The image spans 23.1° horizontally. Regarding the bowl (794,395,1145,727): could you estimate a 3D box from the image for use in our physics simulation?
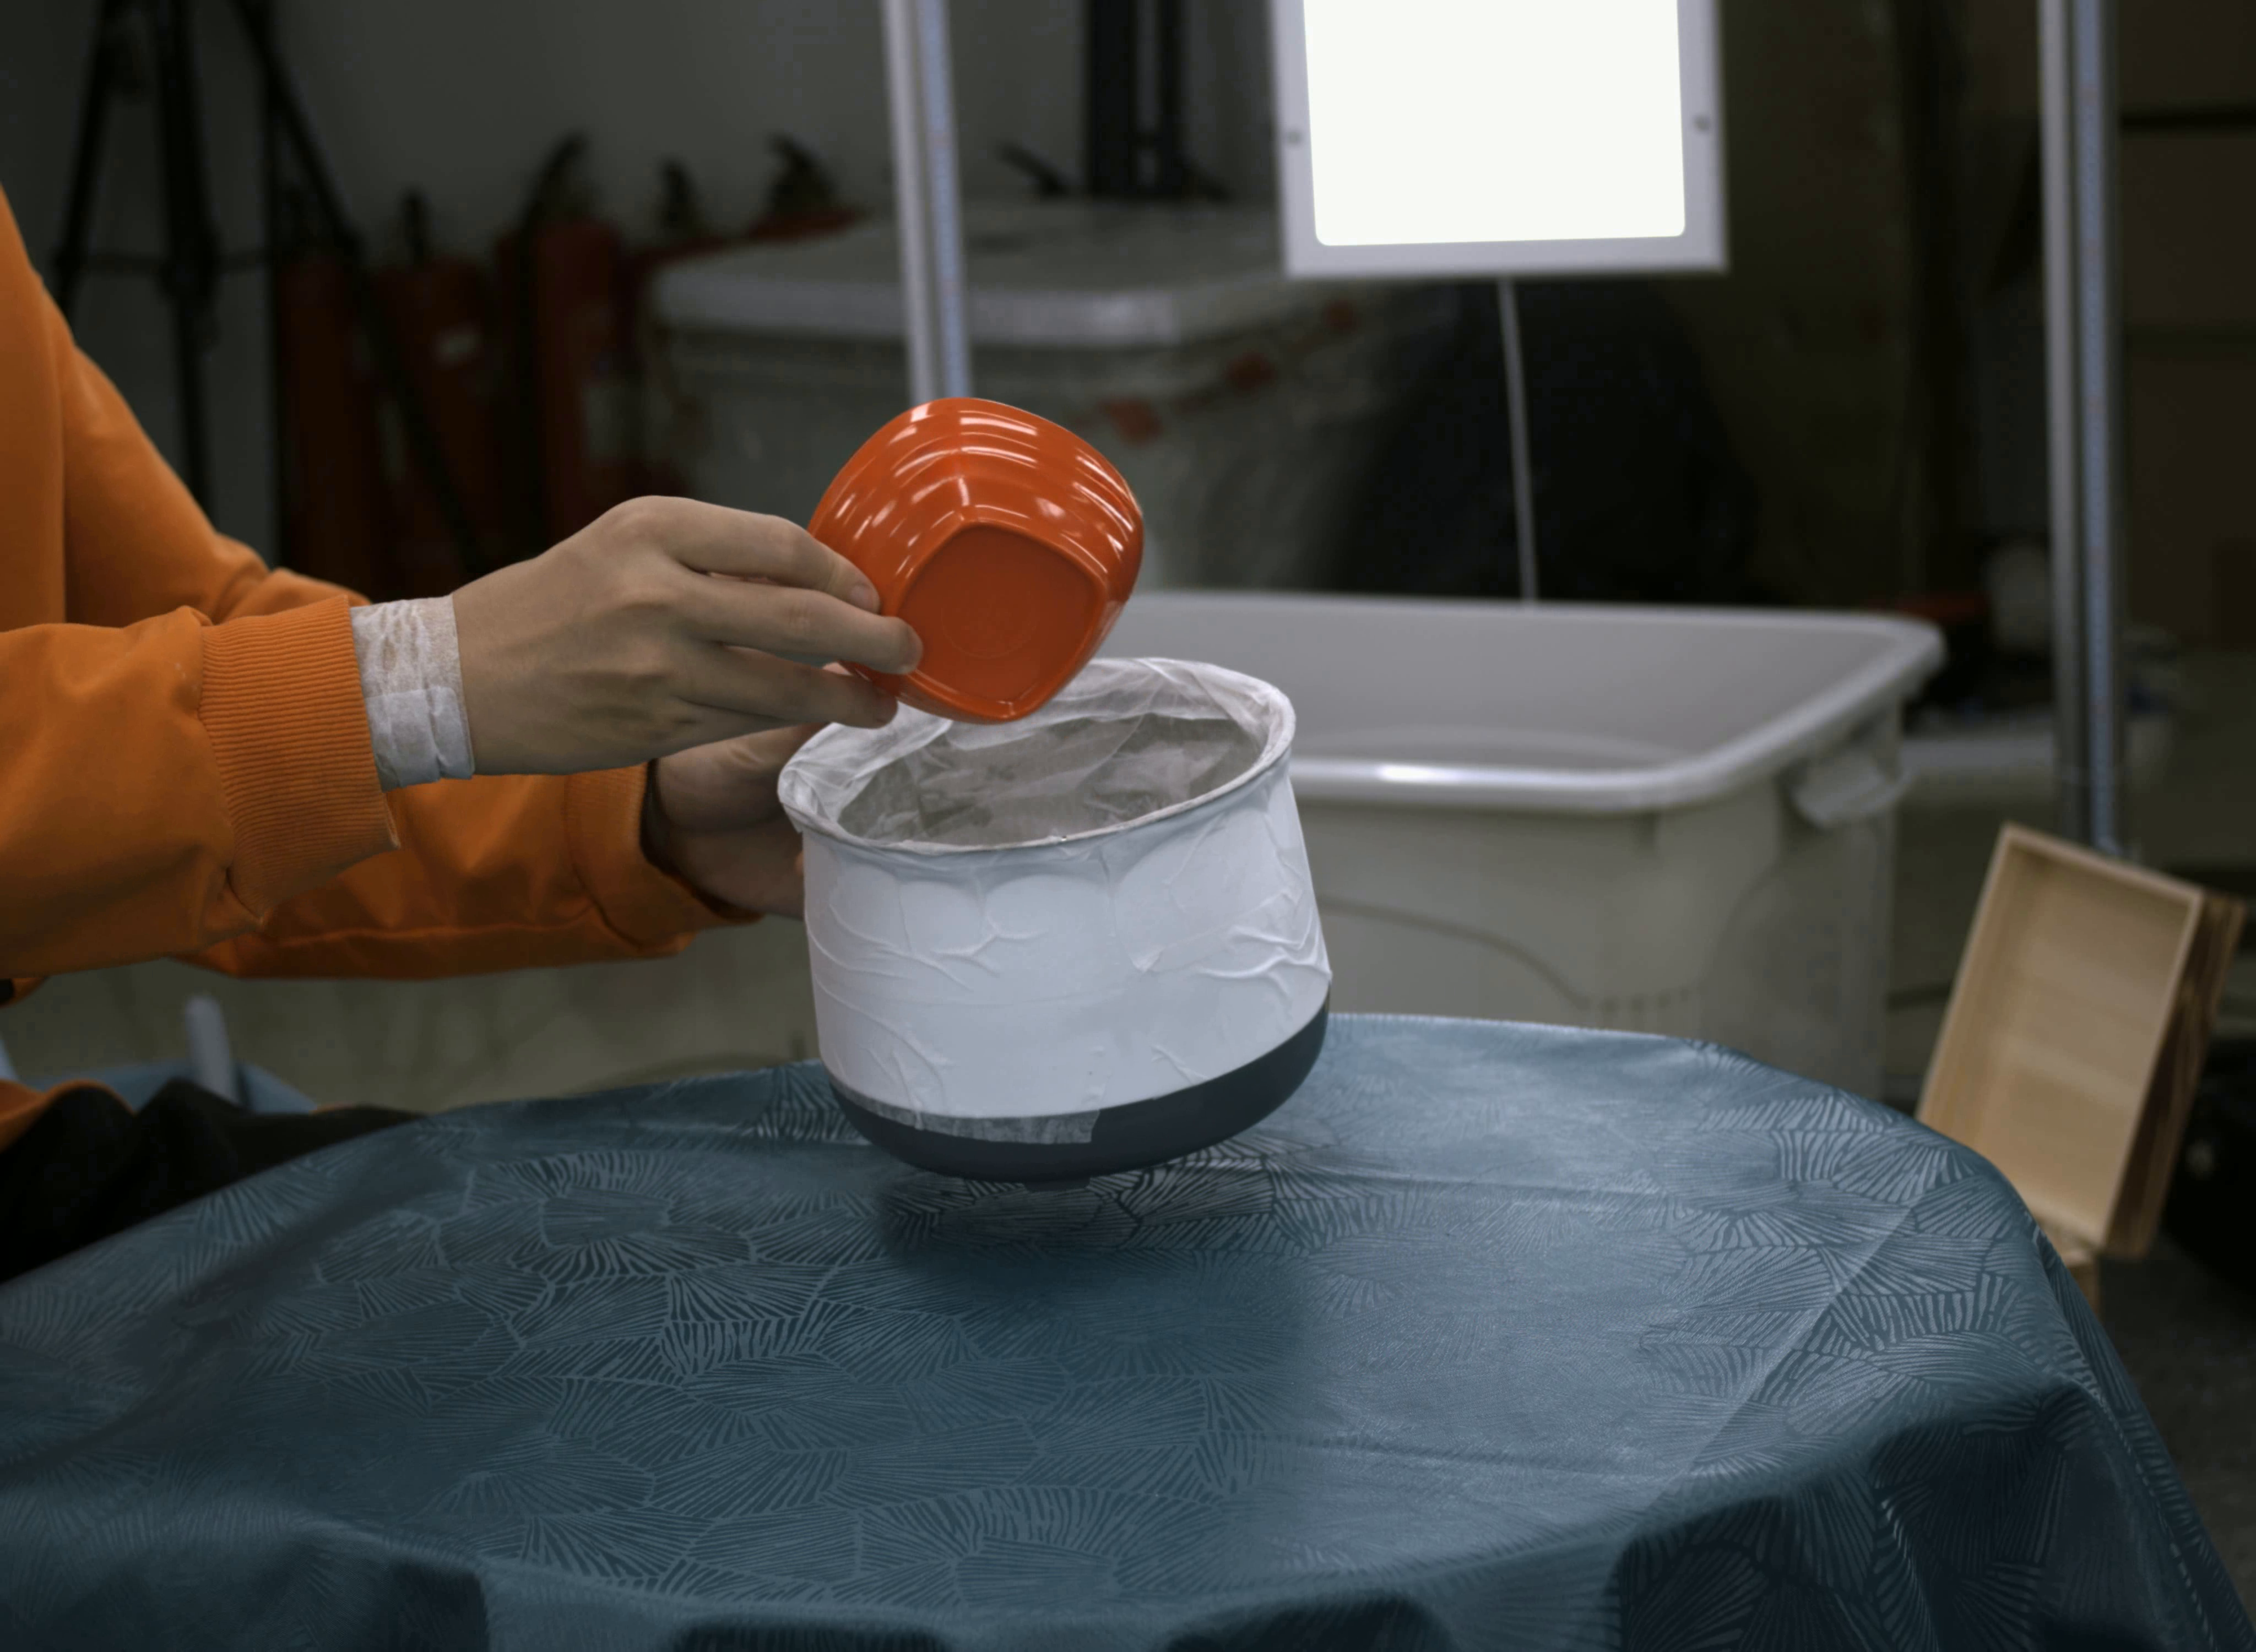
[{"bbox_3d":[-0.048,-0.078,1.800,0.118,0.119,0.051,-6,31,-8],"label":"bowl"}]

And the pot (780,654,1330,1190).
[{"bbox_3d":[-0.040,0.027,1.894,0.174,0.137,0.238,-22,24,-33],"label":"pot"}]
